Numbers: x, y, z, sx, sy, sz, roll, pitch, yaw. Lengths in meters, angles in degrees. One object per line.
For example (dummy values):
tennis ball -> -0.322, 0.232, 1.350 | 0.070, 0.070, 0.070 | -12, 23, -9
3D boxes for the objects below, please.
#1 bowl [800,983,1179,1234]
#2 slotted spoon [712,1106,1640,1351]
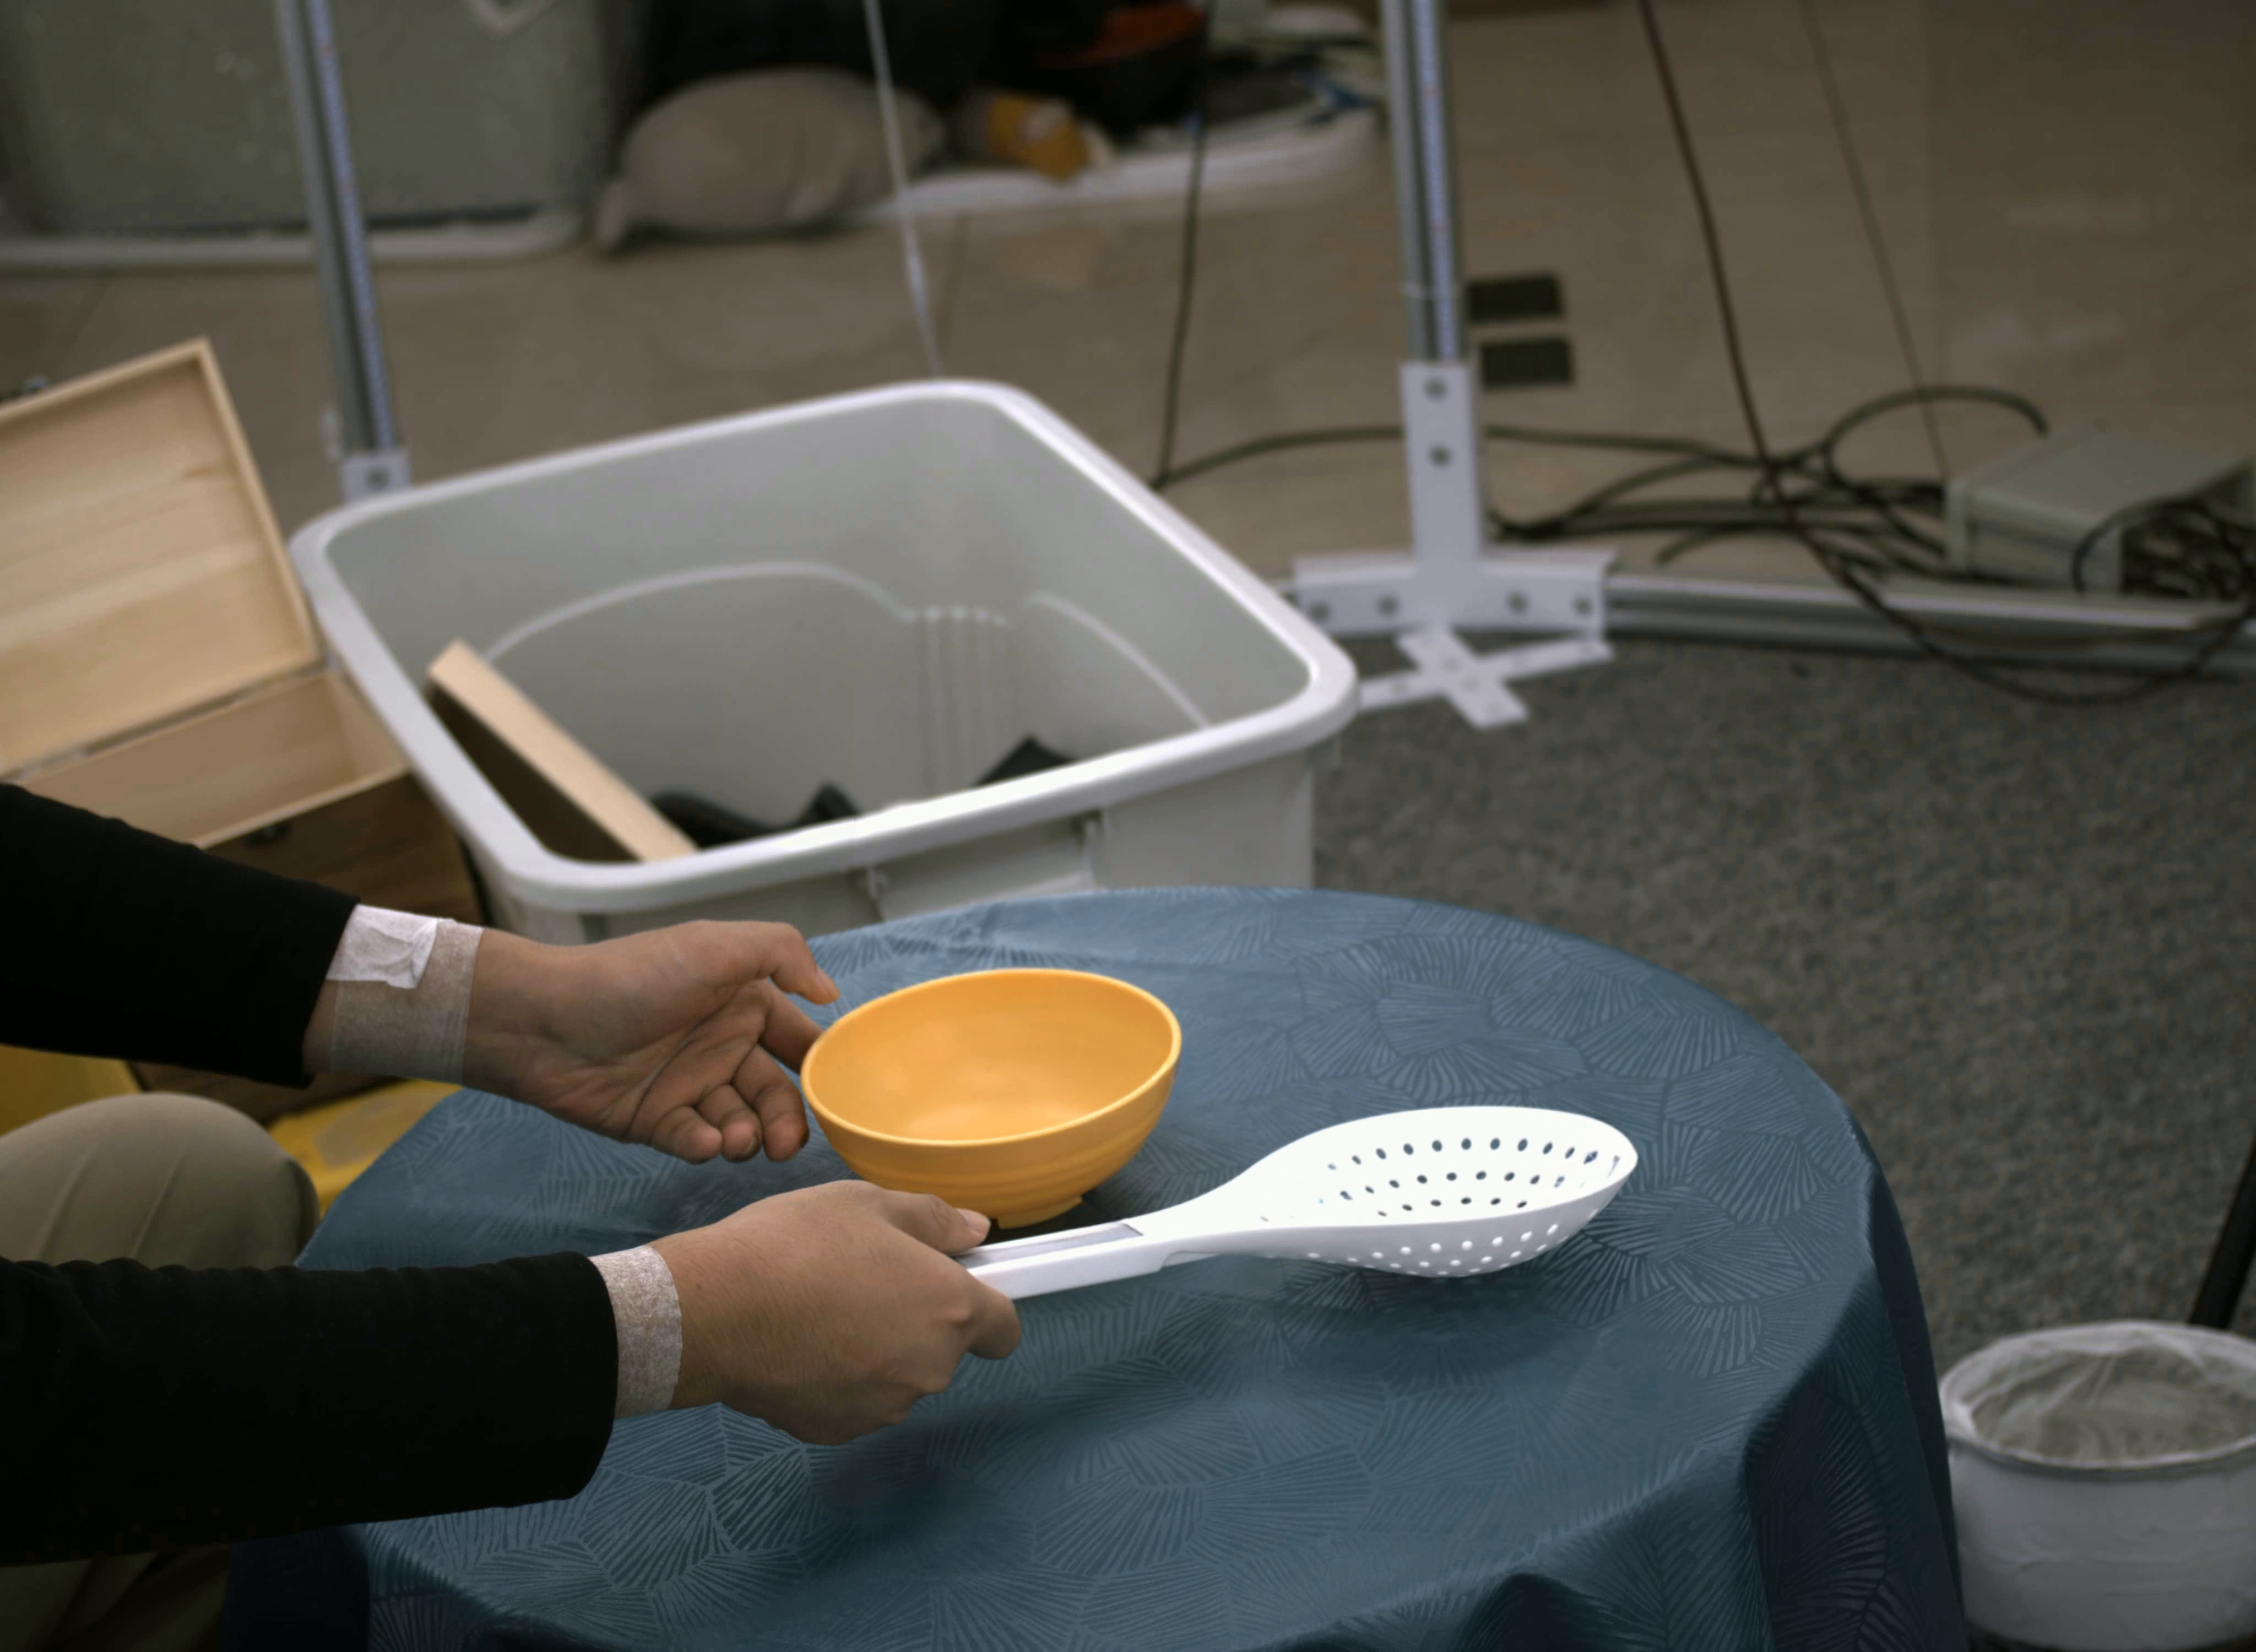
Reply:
bowl -> -0.050, 0.114, 2.147 | 0.145, 0.061, 0.143 | -5, 23, 2
slotted spoon -> 0.019, 0.145, 2.020 | 0.349, 0.046, 0.135 | -5, 13, -23
